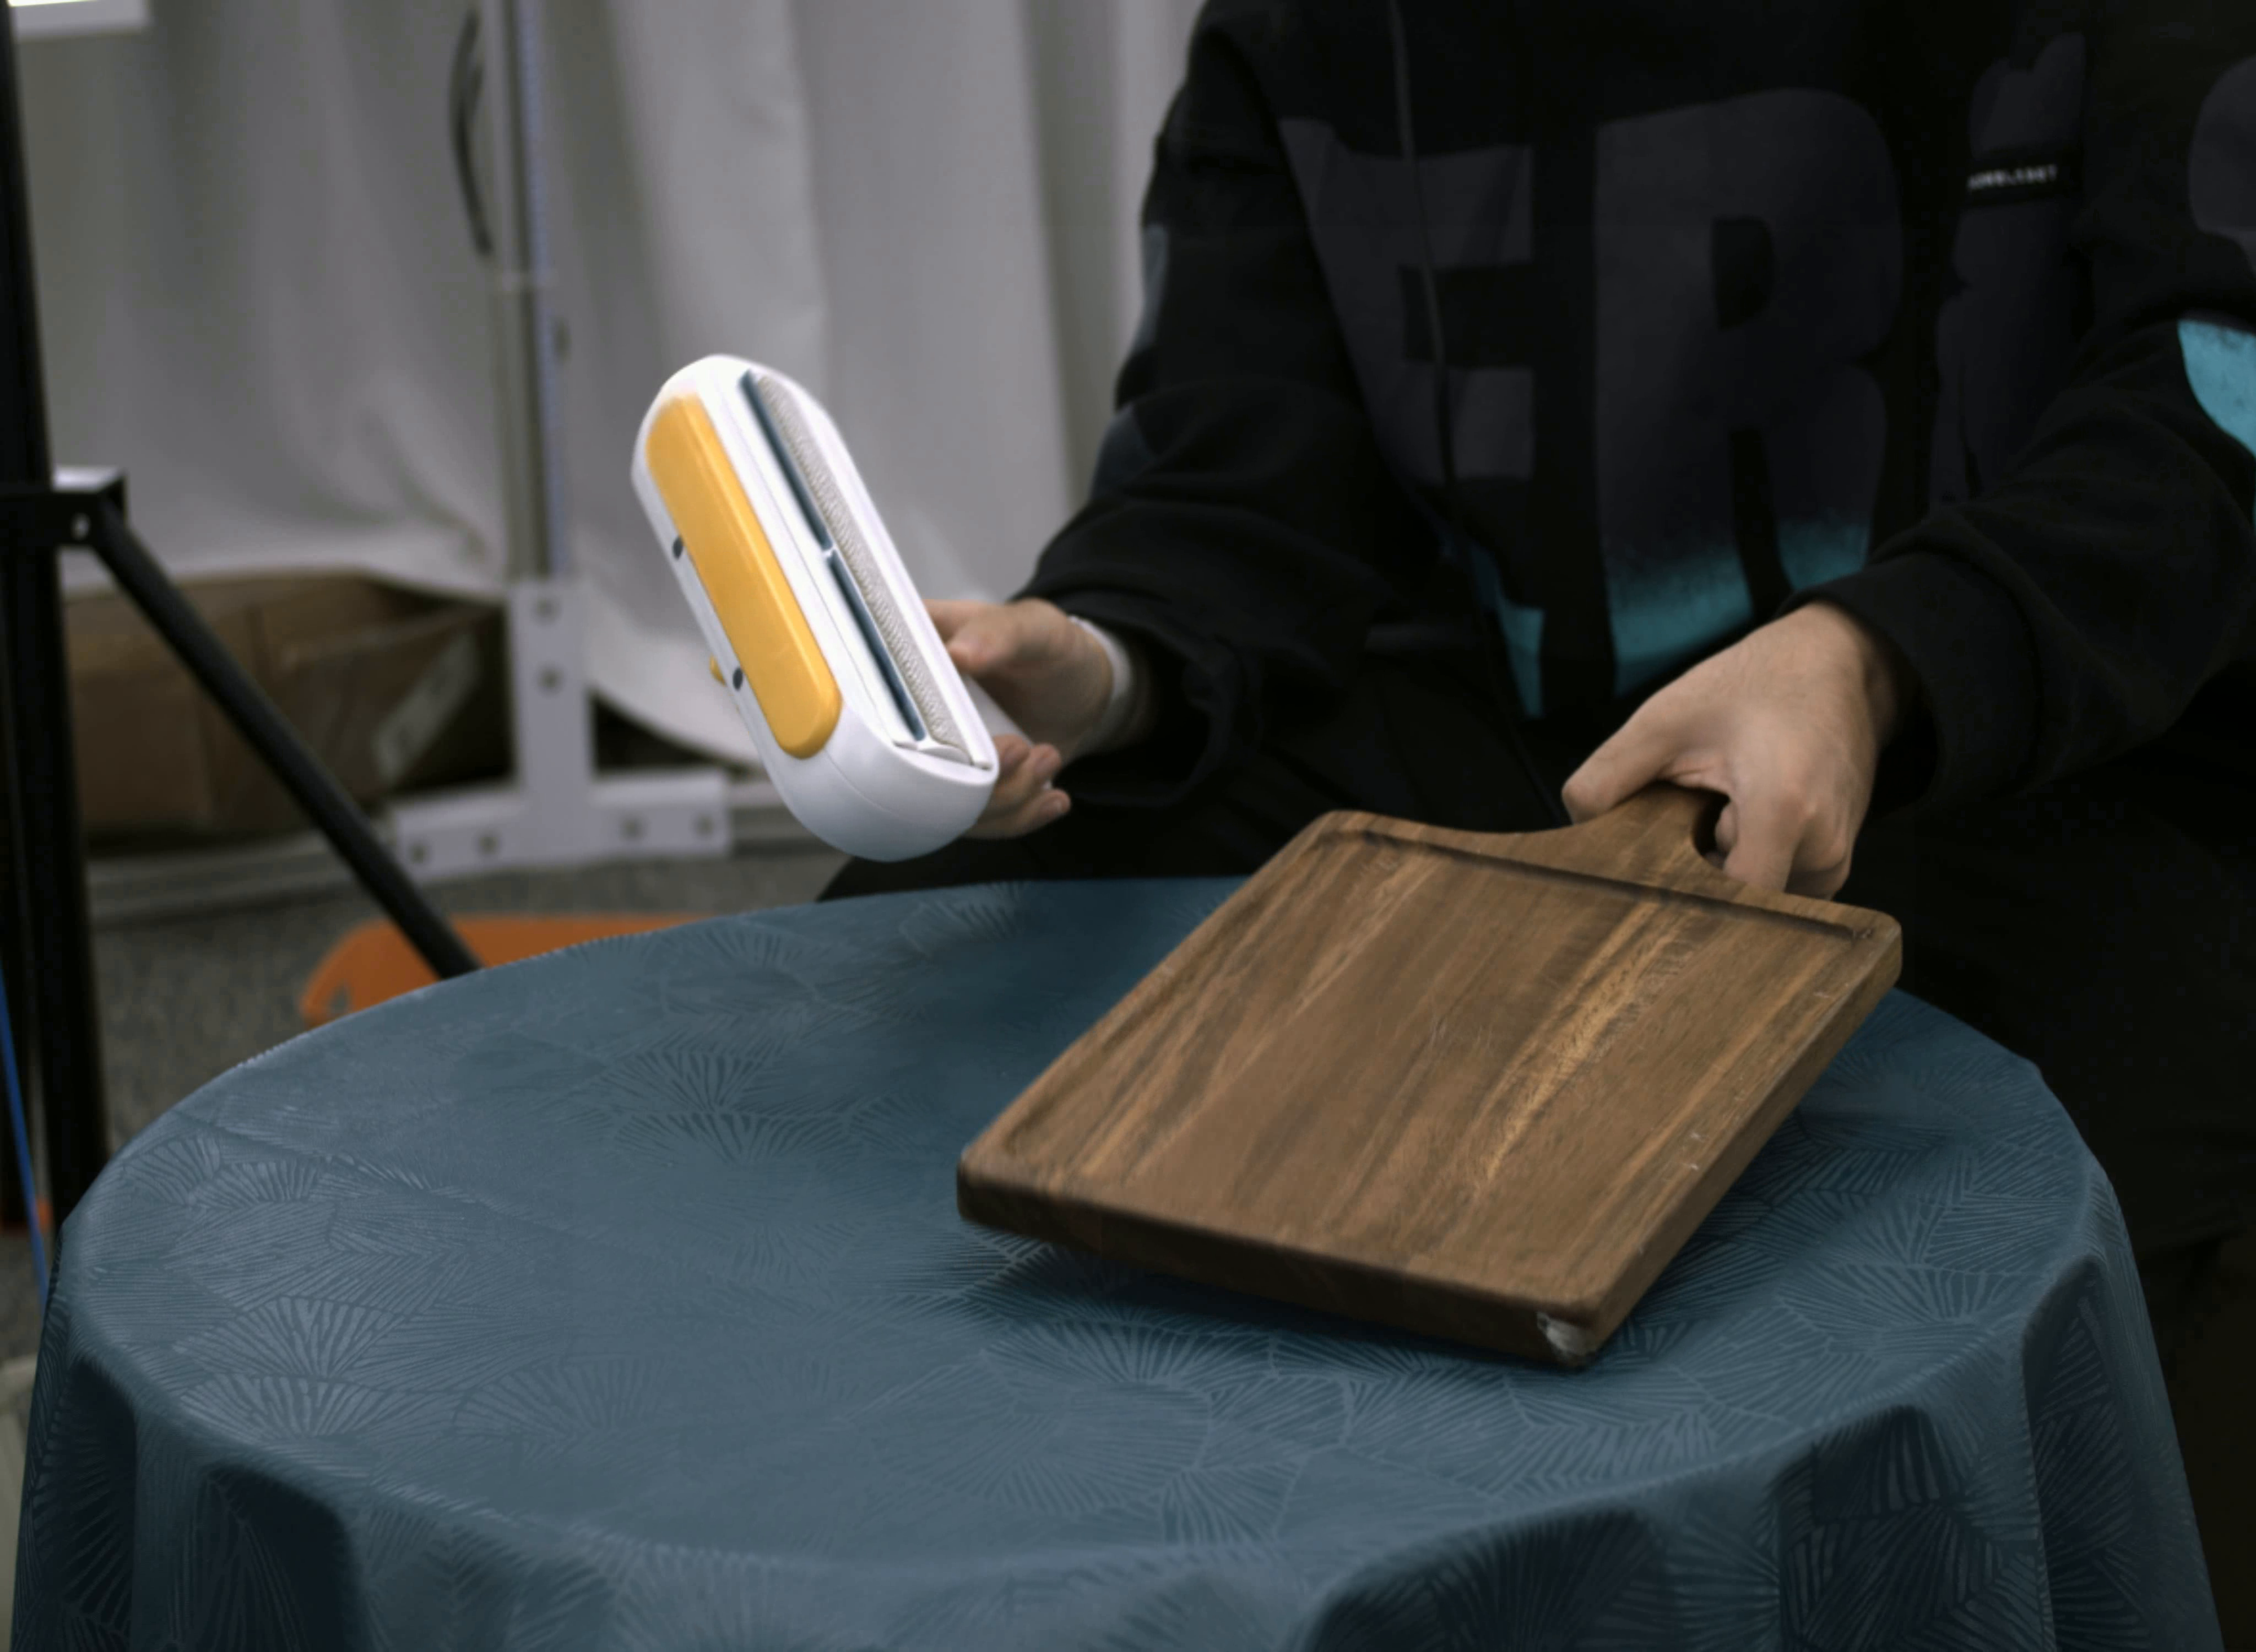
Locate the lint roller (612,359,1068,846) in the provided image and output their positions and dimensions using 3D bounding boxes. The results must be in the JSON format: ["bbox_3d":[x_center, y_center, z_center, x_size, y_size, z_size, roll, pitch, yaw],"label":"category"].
[{"bbox_3d":[-0.074,-0.049,1.737,0.187,0.074,0.197,27,22,-45],"label":"lint roller"}]

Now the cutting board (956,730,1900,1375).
[{"bbox_3d":[0.114,0.052,1.572,0.204,0.023,0.348,9,29,27],"label":"cutting board"}]
